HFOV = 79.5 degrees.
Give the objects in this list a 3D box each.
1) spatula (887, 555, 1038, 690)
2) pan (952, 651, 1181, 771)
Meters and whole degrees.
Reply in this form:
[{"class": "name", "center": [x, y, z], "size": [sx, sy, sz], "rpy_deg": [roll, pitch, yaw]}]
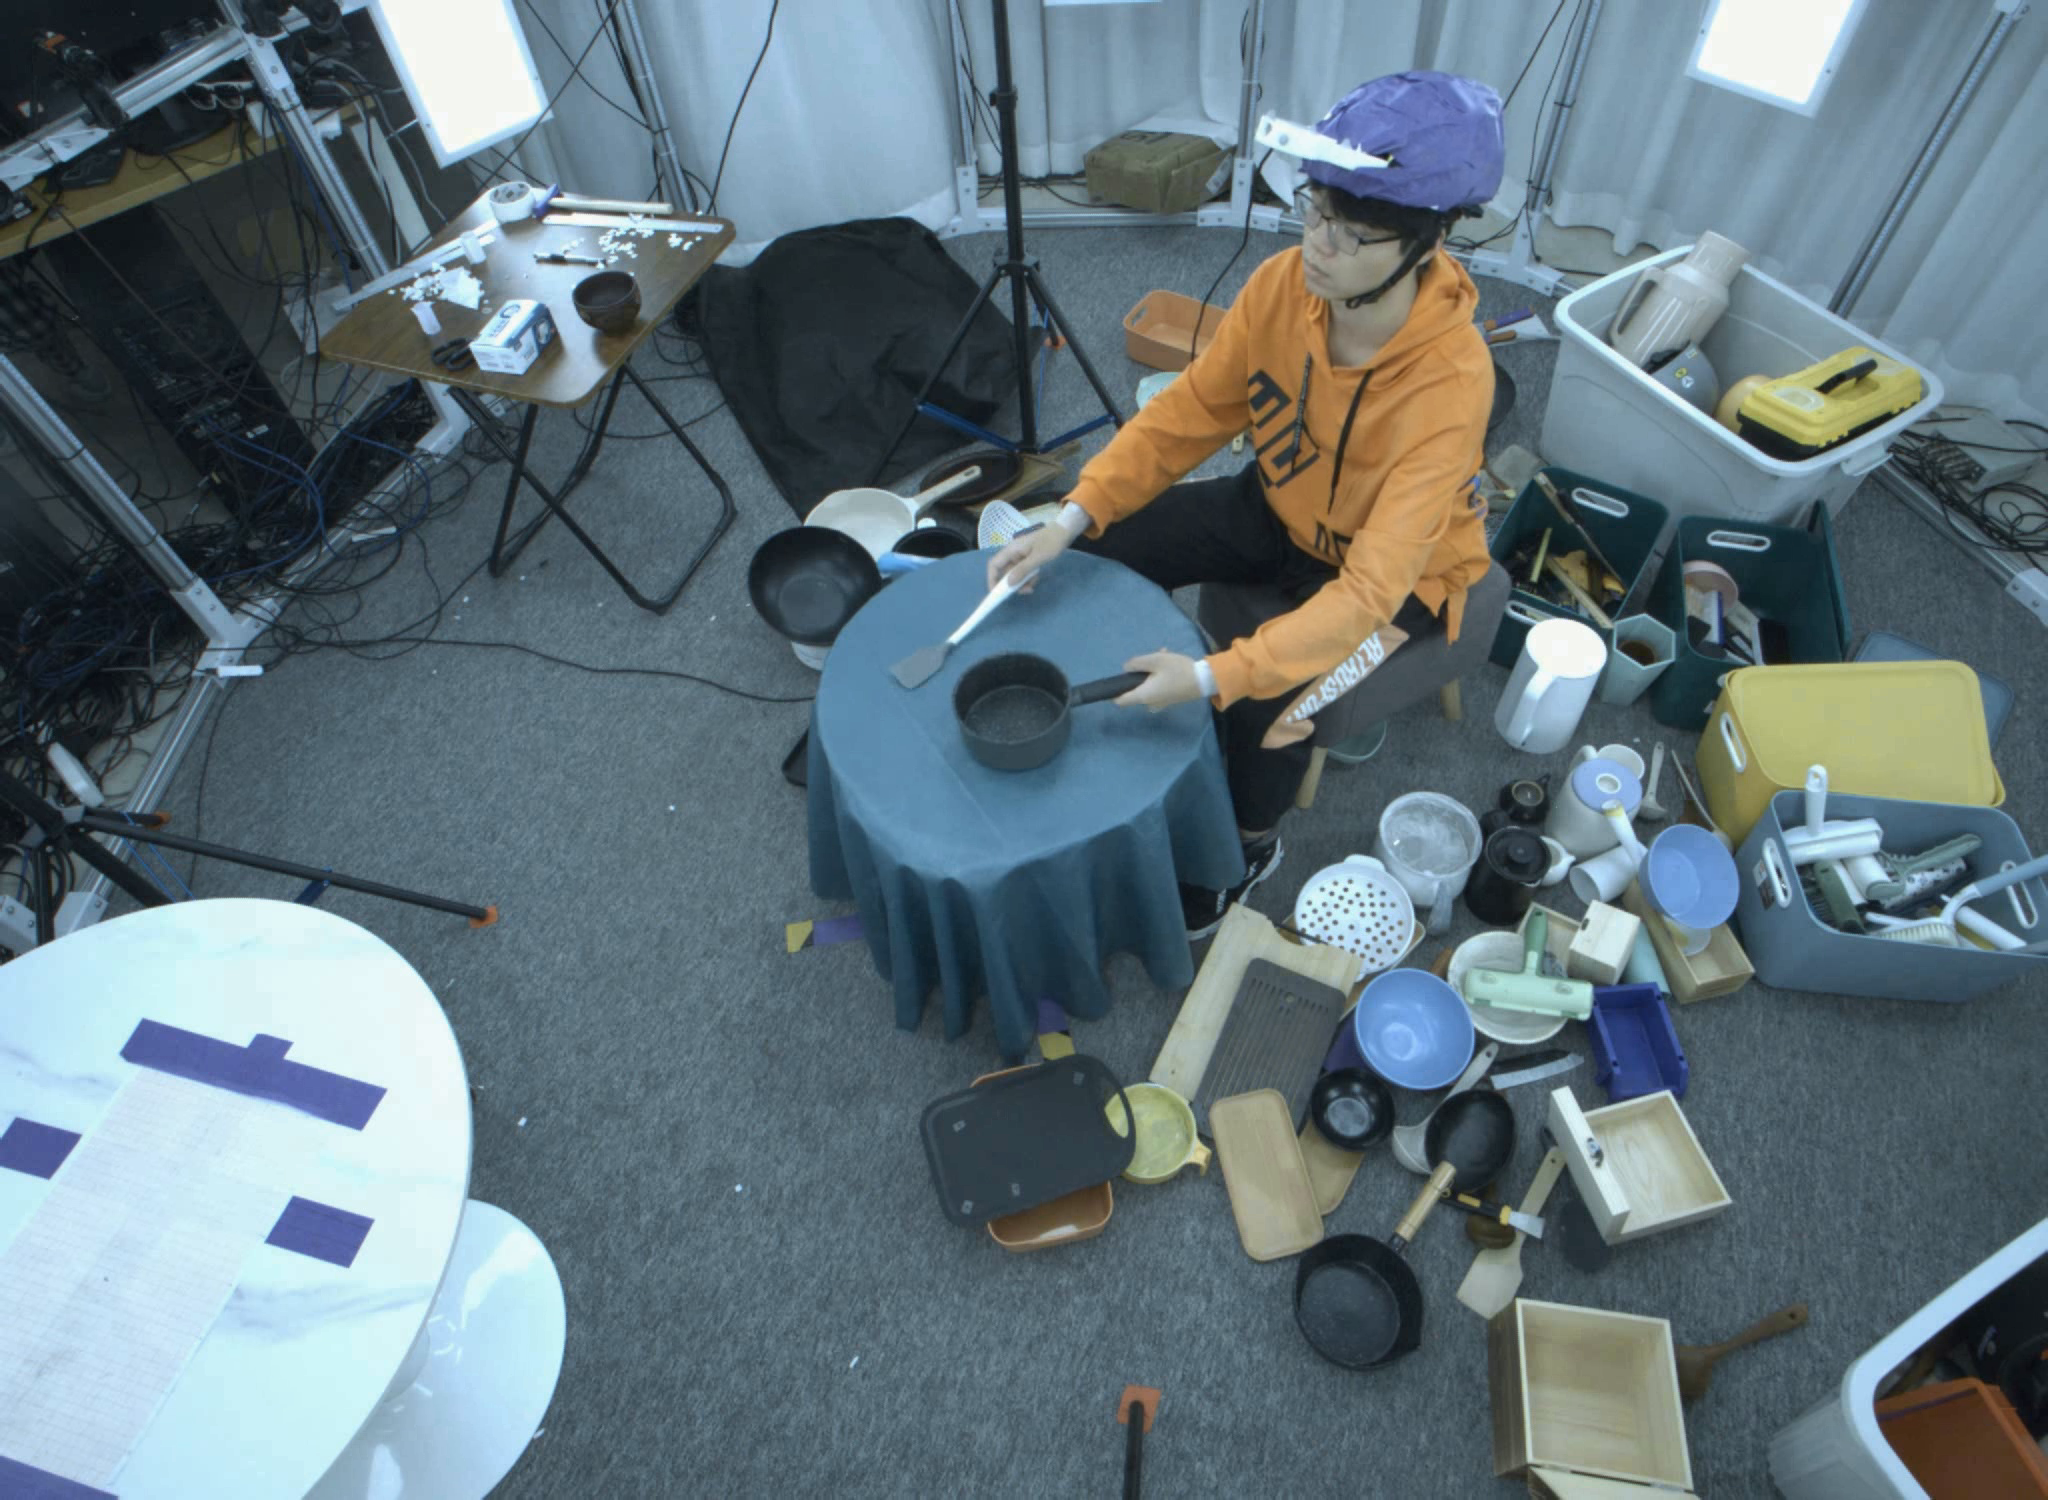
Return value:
[{"class": "spatula", "center": [-0.091, -0.198, 1.896], "size": [0.288, 0.032, 0.058], "rpy_deg": [-43, 76, -12]}, {"class": "pan", "center": [0.064, -0.067, 1.776], "size": [0.329, 0.087, 0.170], "rpy_deg": [-8, 55, 0]}]
